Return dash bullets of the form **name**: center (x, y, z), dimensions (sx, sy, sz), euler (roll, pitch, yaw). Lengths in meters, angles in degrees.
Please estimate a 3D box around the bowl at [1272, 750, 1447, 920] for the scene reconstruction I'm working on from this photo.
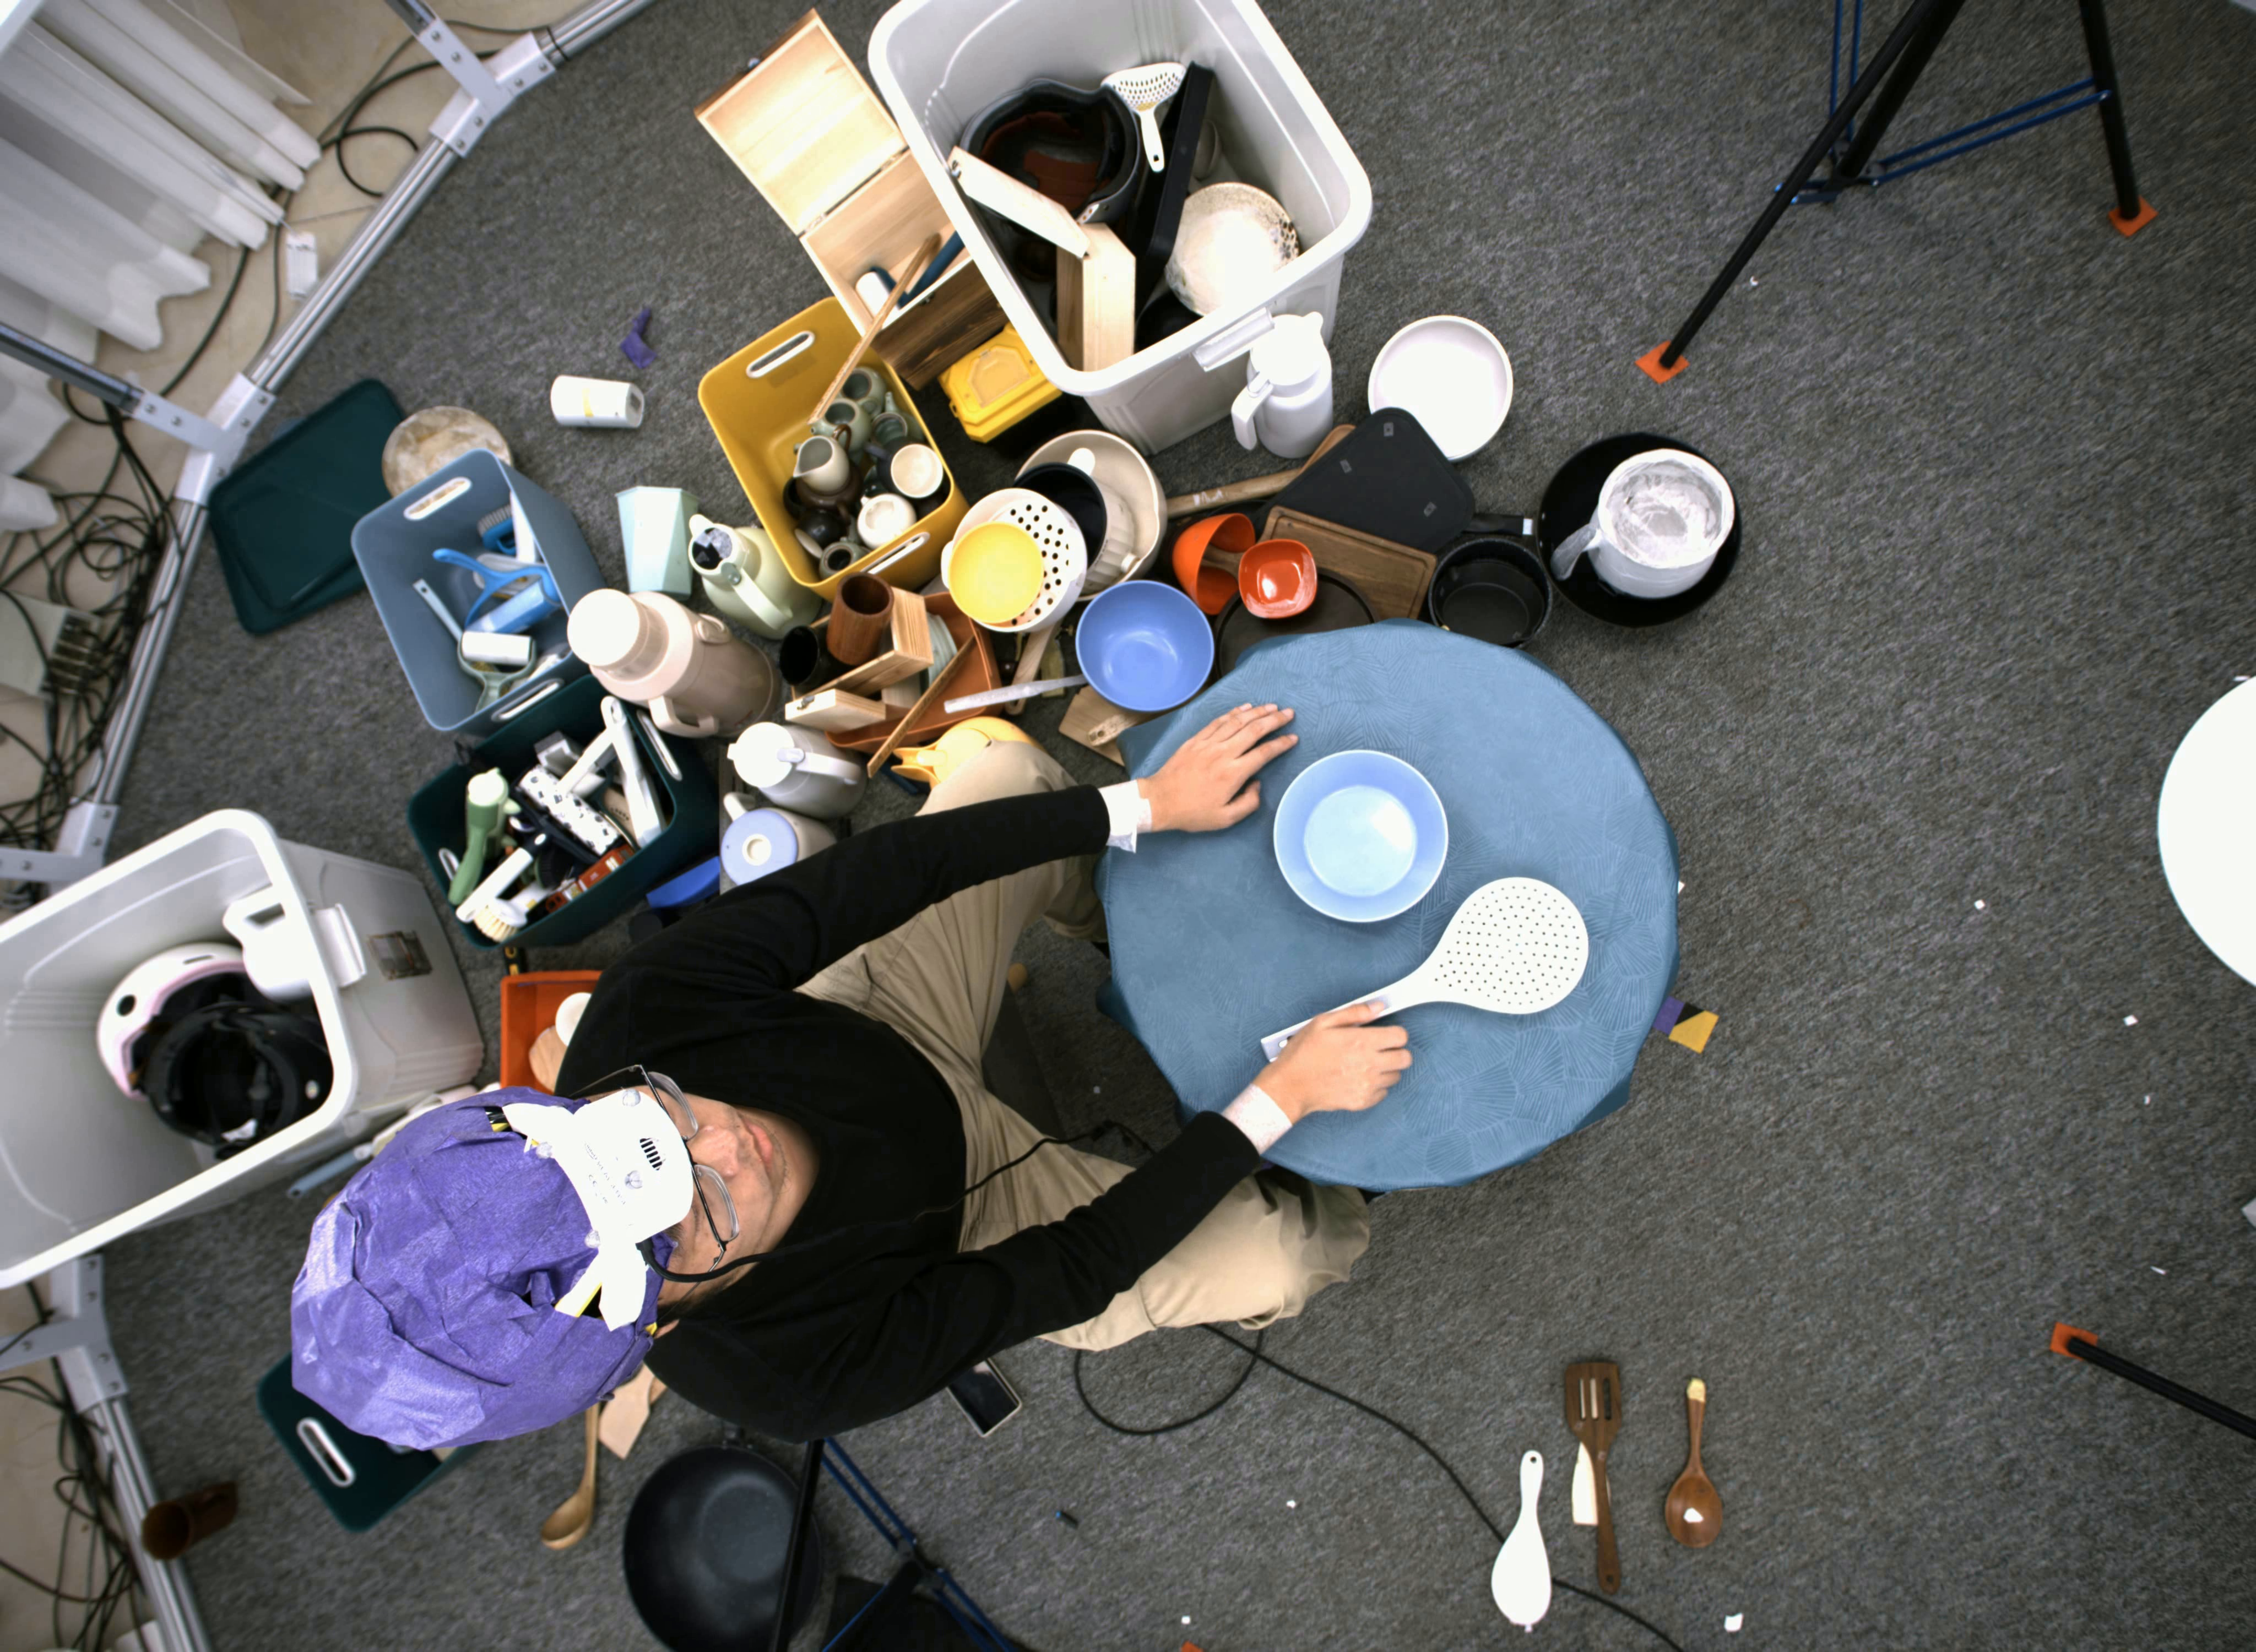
- **bowl**: center (0.240, 0.011, 1.433), dimensions (0.177, 0.070, 0.175), euler (-1, 86, 11)

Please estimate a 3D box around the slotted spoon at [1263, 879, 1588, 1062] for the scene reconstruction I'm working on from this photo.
- **slotted spoon**: center (0.301, 0.165, 1.426), dimensions (0.352, 0.045, 0.135), euler (-25, 84, 9)
